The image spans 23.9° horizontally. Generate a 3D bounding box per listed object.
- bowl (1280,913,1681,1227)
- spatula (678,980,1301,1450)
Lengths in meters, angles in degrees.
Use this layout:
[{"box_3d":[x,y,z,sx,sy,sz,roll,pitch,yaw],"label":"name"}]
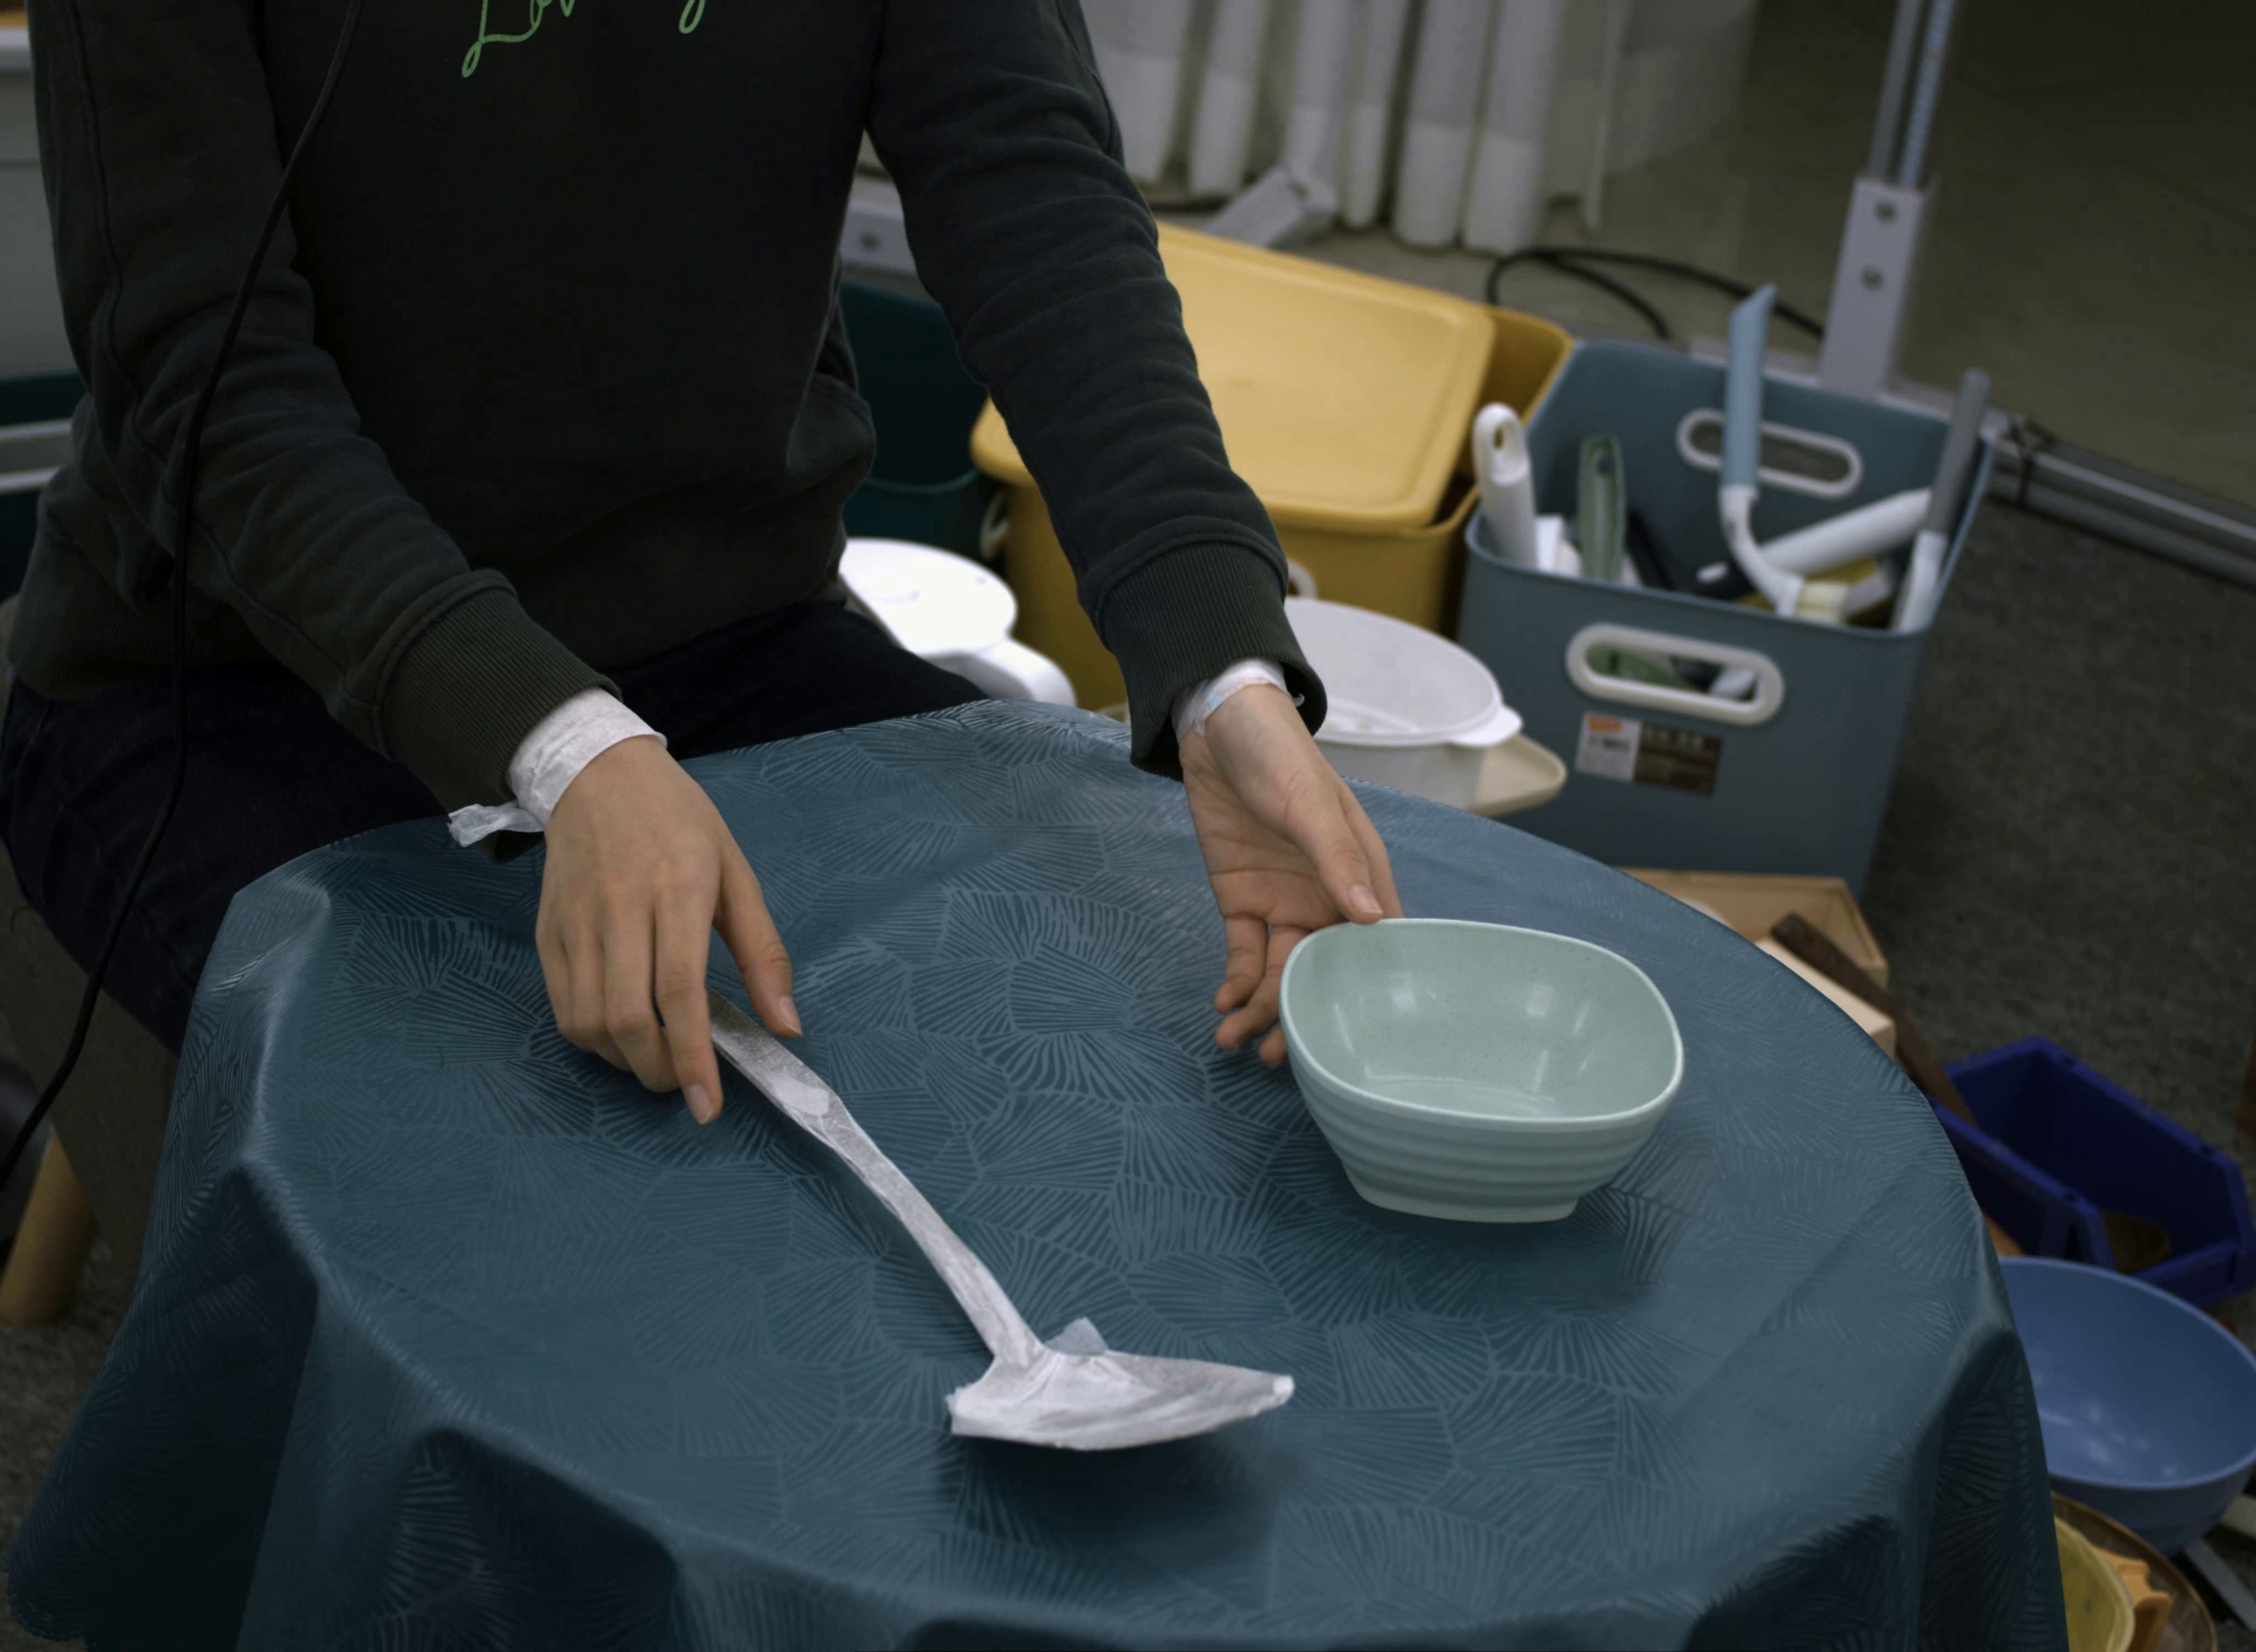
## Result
[{"box_3d":[0.117,0.090,1.831,0.151,0.058,0.152,7,28,-4],"label":"bowl"},{"box_3d":[-0.070,0.119,1.750,0.098,0.044,0.368,-11,32,-28],"label":"spatula"}]
